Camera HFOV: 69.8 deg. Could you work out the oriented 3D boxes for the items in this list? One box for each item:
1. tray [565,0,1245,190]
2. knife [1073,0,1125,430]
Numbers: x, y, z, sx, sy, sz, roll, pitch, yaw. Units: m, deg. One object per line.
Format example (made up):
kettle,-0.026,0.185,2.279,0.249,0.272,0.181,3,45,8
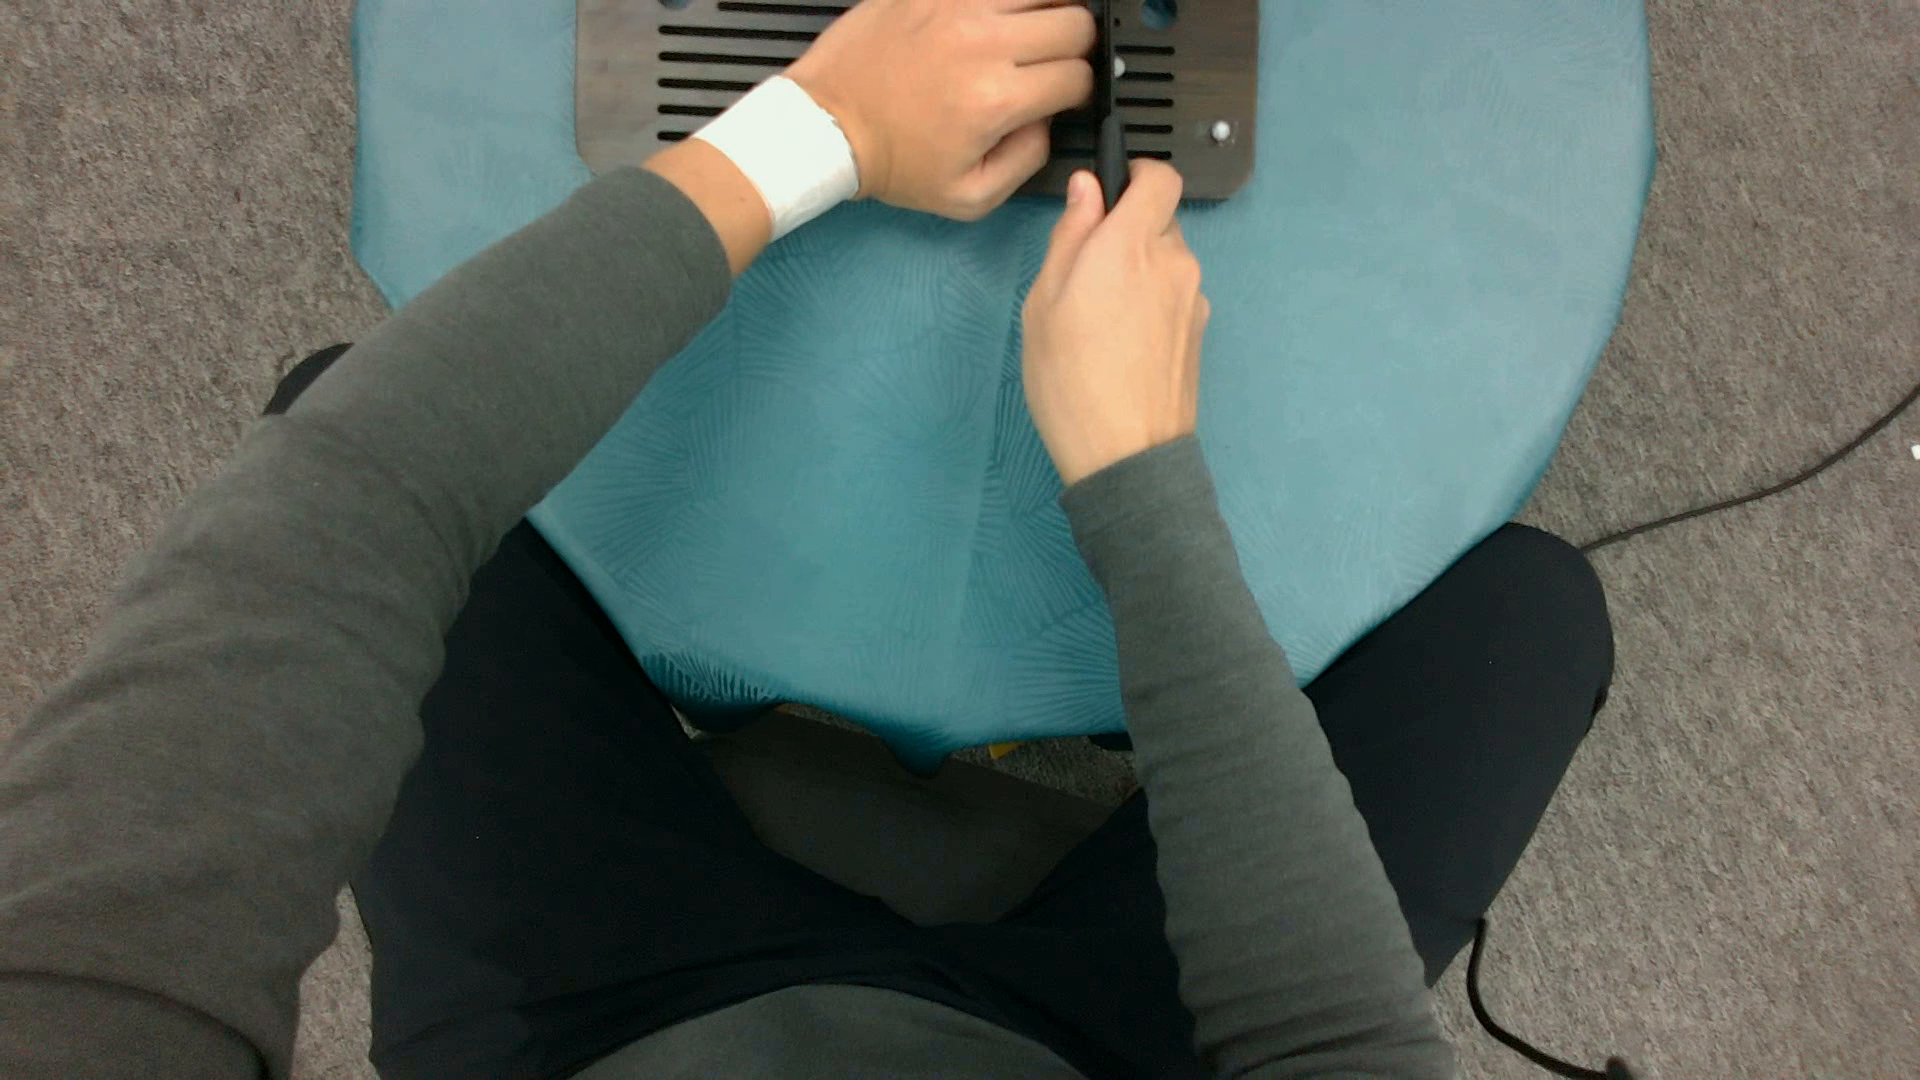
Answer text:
tray,-0.022,-0.249,0.628,0.306,0.018,0.170,2,91,-3
knife,0.056,-0.198,0.586,0.021,0.081,0.302,0,87,-2
